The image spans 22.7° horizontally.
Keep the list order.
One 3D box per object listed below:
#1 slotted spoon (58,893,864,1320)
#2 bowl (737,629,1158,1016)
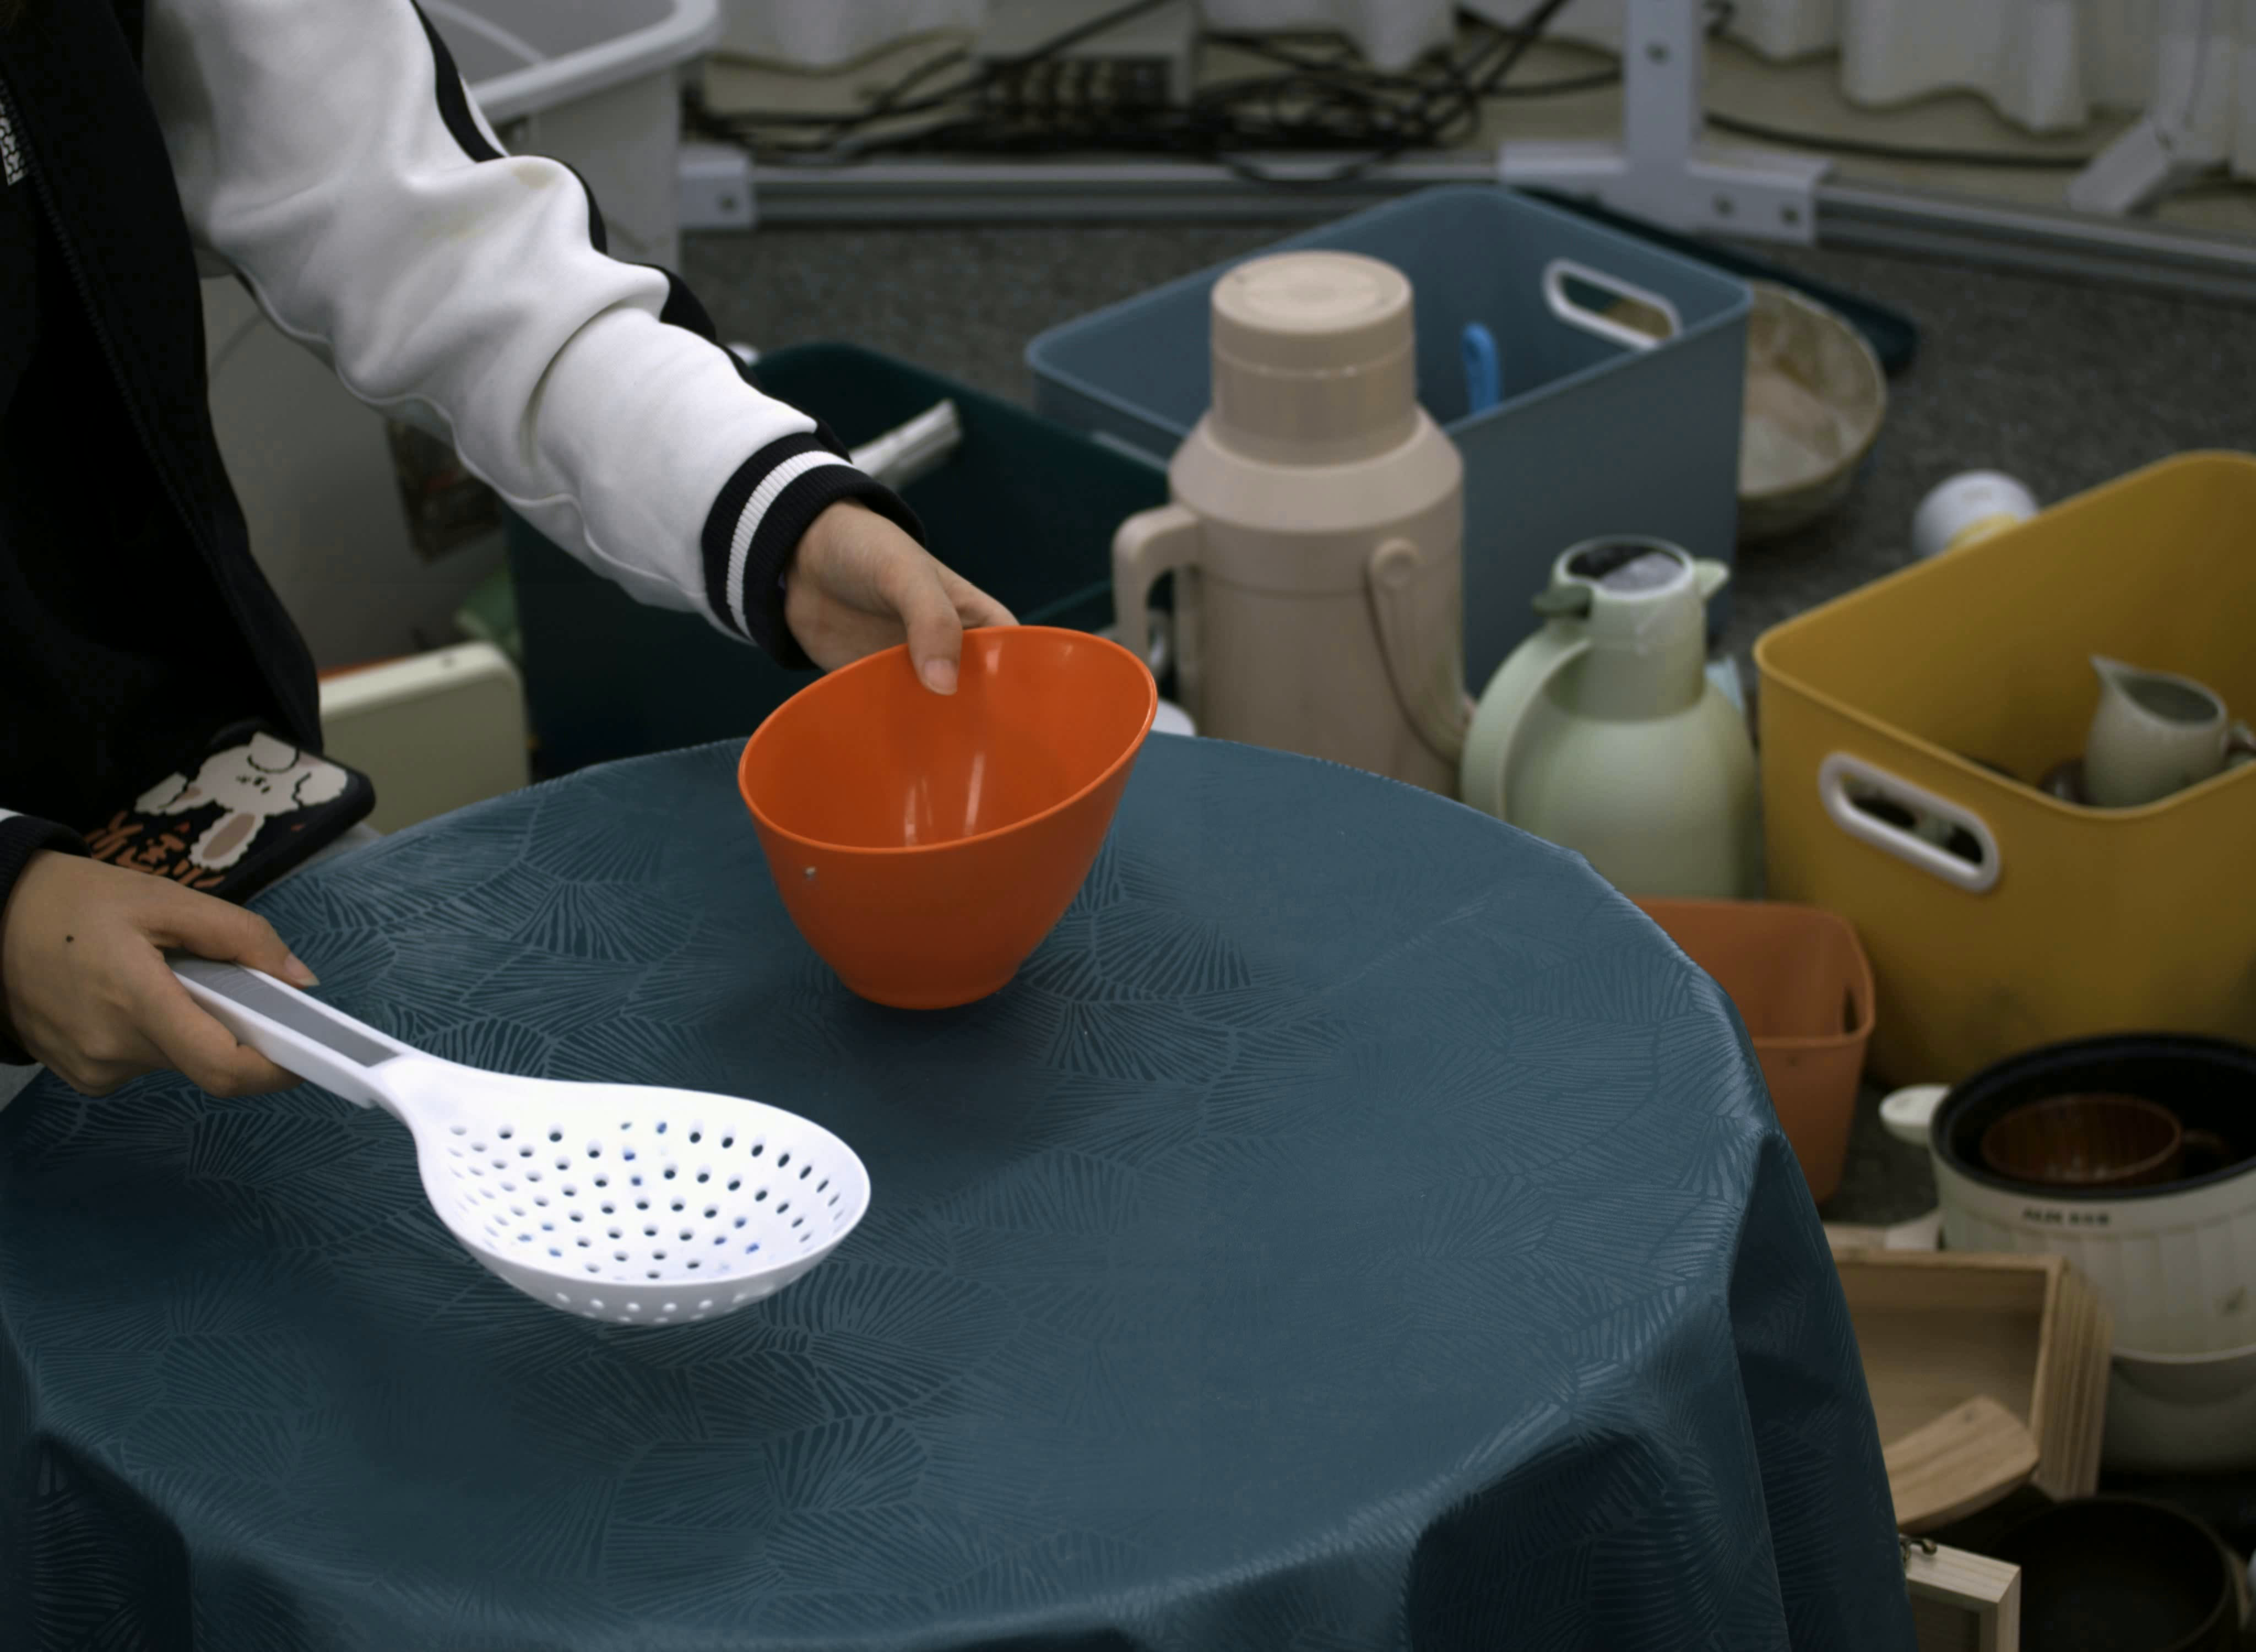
[{"bbox_3d":[-0.228,0.084,1.804,0.349,0.045,0.137,27,31,36],"label":"slotted spoon"},{"bbox_3d":[-0.061,0.005,1.960,0.147,0.103,0.150,-2,31,1],"label":"bowl"}]
